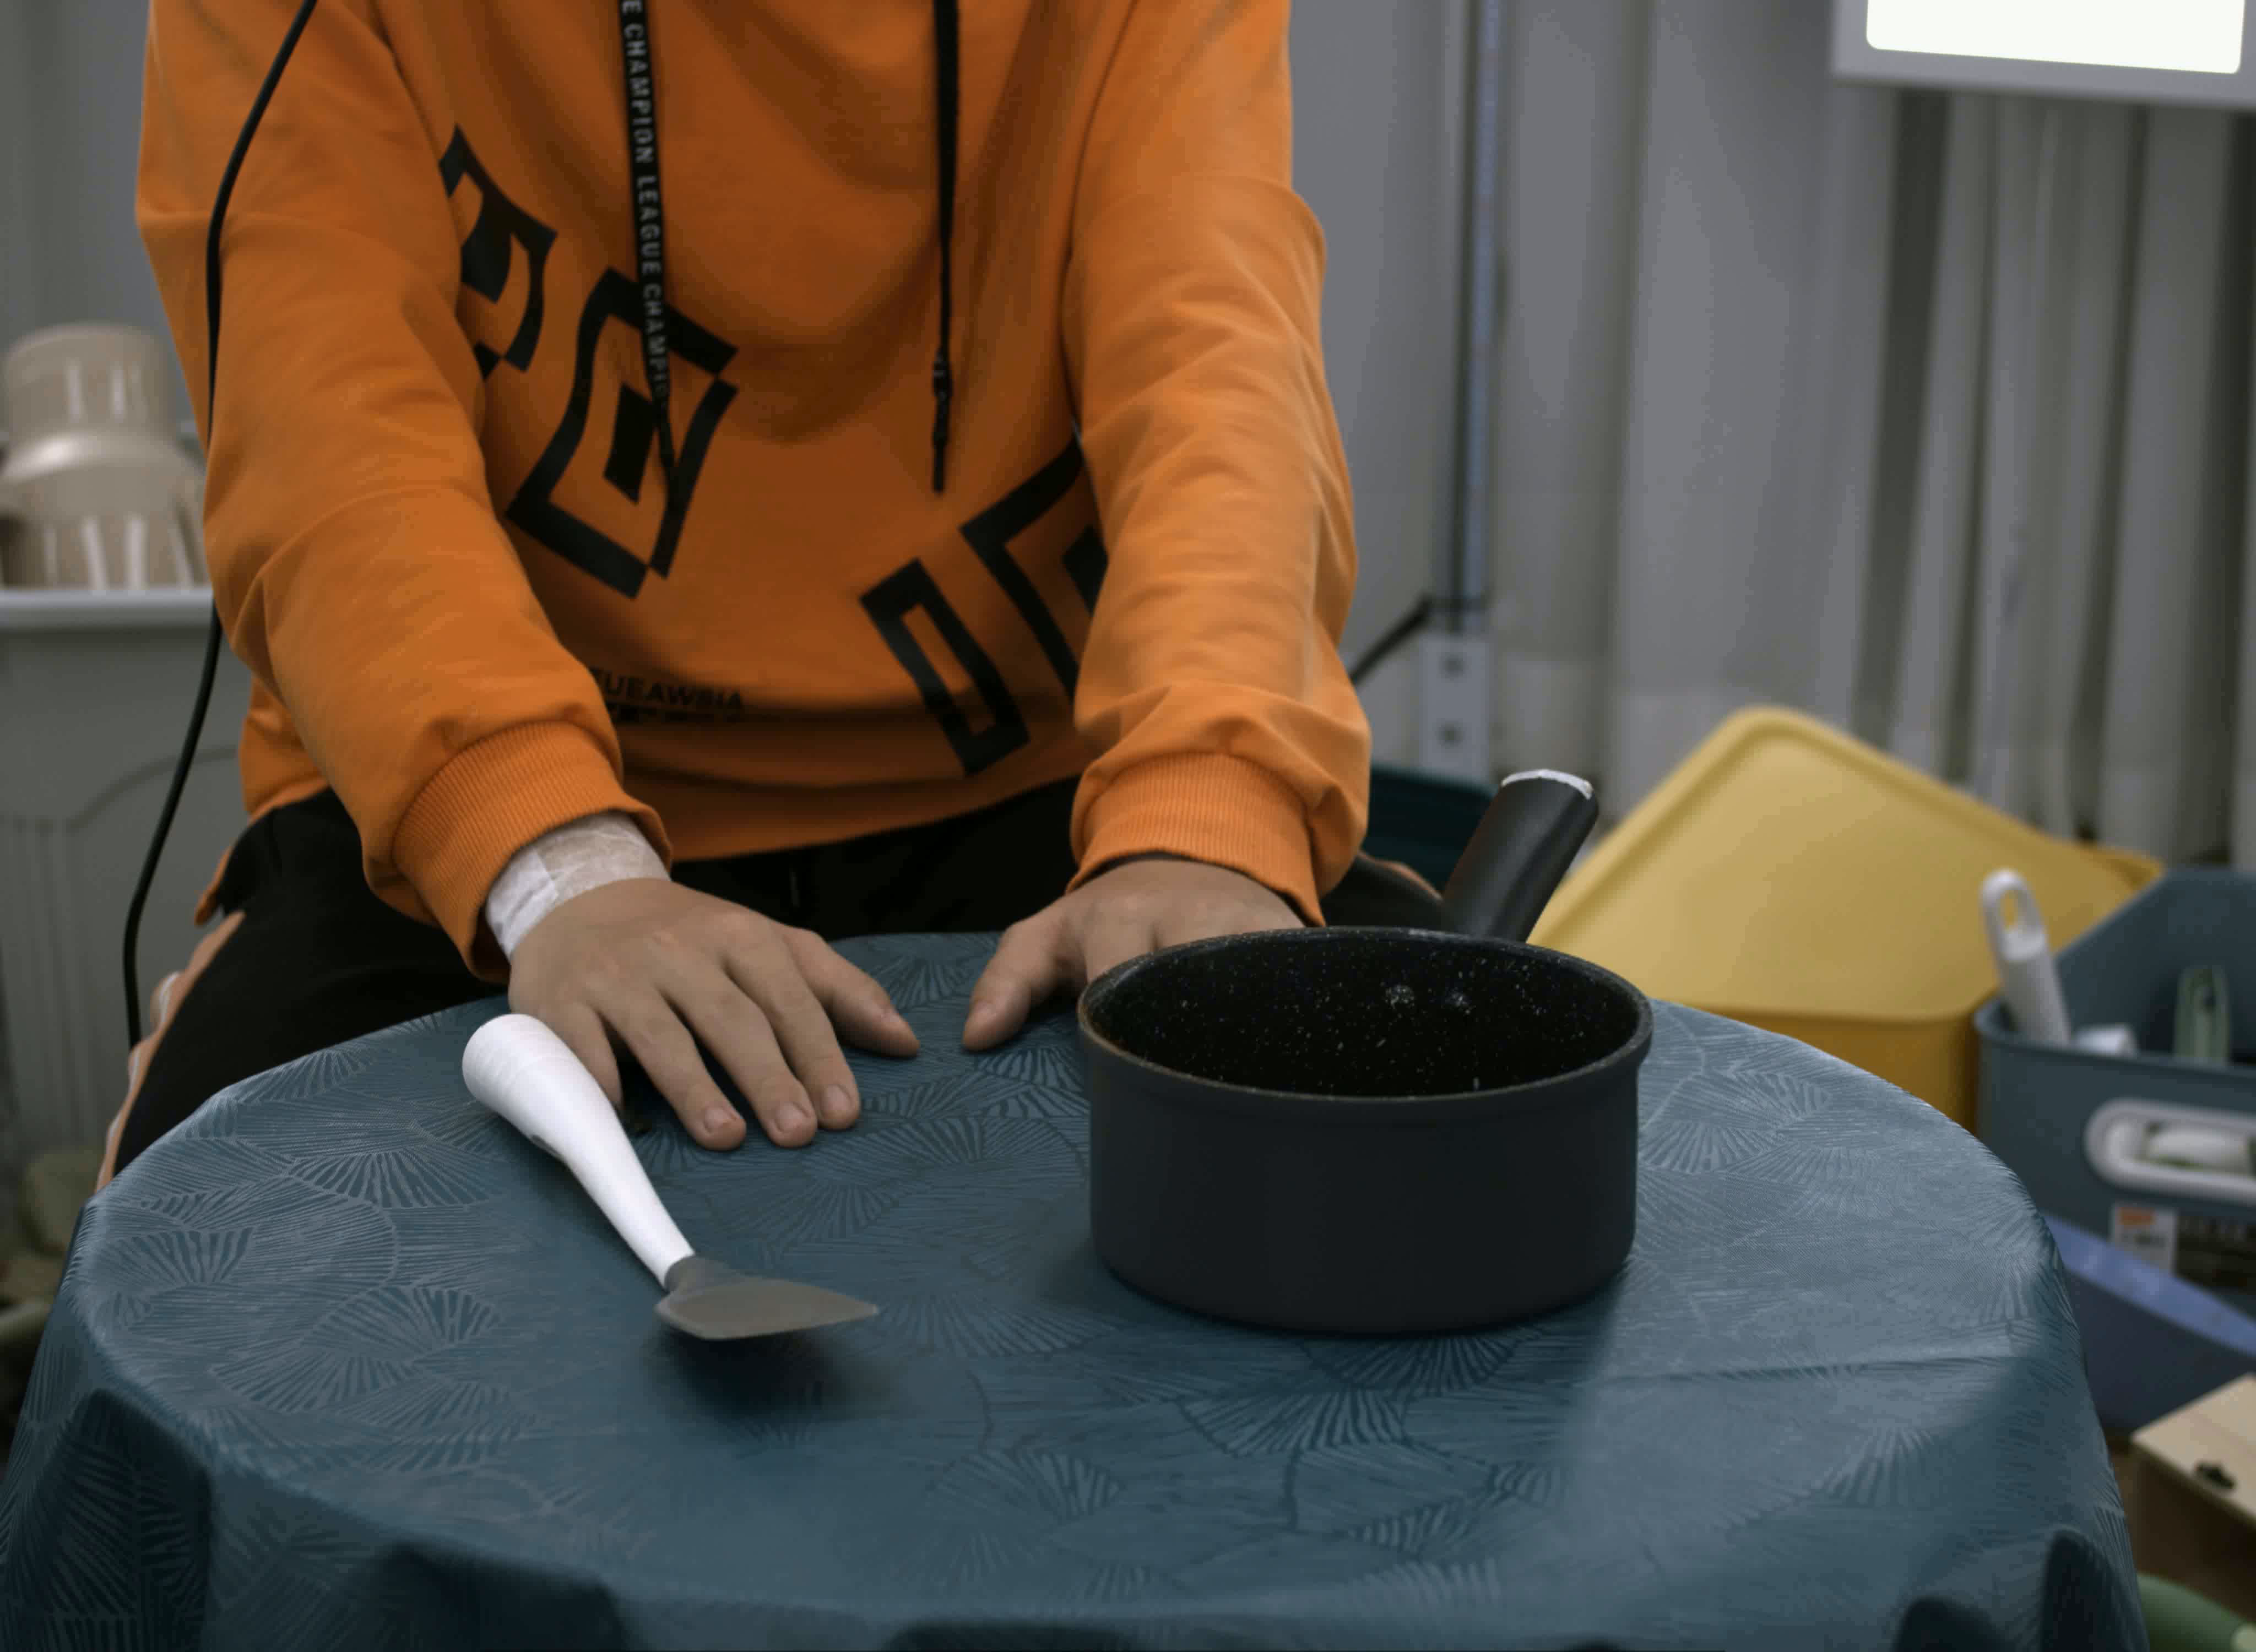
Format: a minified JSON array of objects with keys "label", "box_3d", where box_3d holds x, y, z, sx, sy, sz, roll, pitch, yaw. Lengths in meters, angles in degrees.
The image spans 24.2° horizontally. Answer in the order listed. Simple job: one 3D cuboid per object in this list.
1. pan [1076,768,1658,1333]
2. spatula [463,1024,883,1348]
[{"label":"pan","box_3d":[0.097,0.065,1.635,0.170,0.087,0.329,7,18,19]},{"label":"spatula","box_3d":[-0.143,0.112,1.561,0.059,0.032,0.284,-3,15,-23]}]
